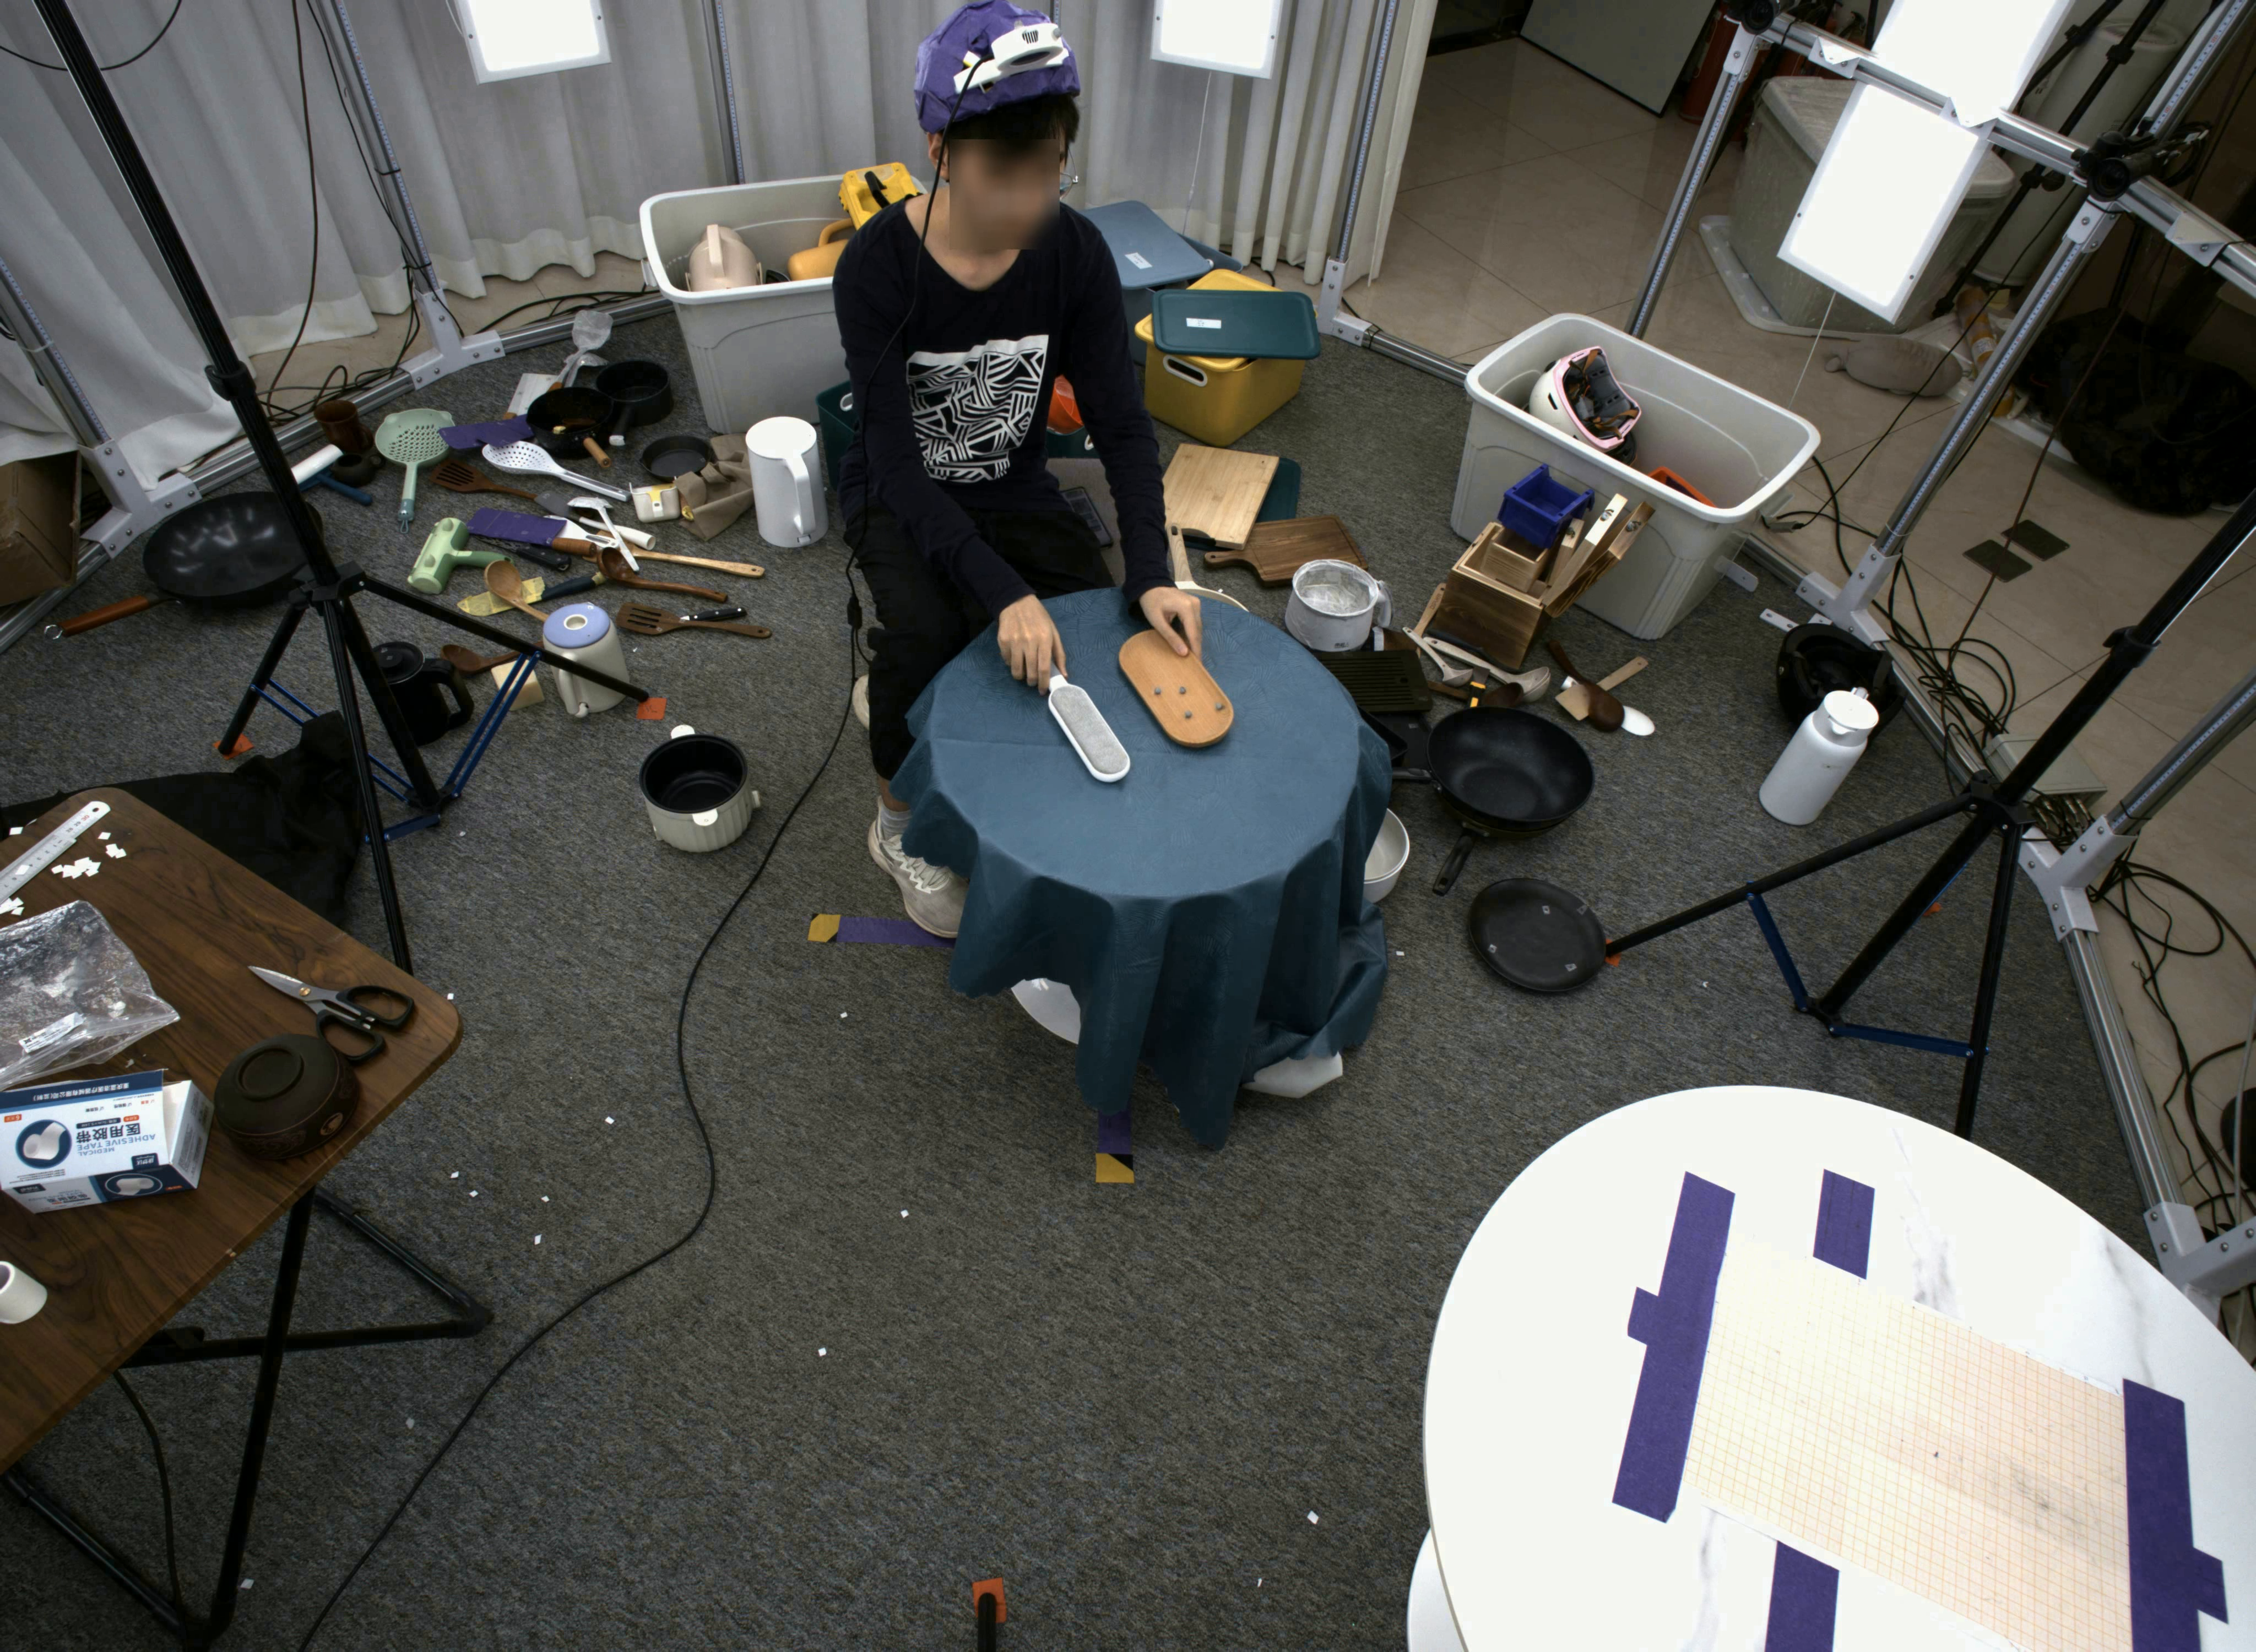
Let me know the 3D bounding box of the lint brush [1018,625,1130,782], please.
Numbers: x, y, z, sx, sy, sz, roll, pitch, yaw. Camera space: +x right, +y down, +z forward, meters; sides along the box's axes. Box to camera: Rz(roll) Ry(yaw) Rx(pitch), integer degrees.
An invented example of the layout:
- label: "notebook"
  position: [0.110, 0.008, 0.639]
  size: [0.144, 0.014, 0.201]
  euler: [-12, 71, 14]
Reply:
- label: "lint brush"
  position: [-0.082, -0.176, 1.790]
  size: [0.060, 0.020, 0.315]
  euler: [-24, 57, -13]

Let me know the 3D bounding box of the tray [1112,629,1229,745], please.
- label: "tray"
  position: [0.059, -0.199, 1.822]
  size: [0.102, 0.020, 0.236]
  euler: [-24, 53, -14]
